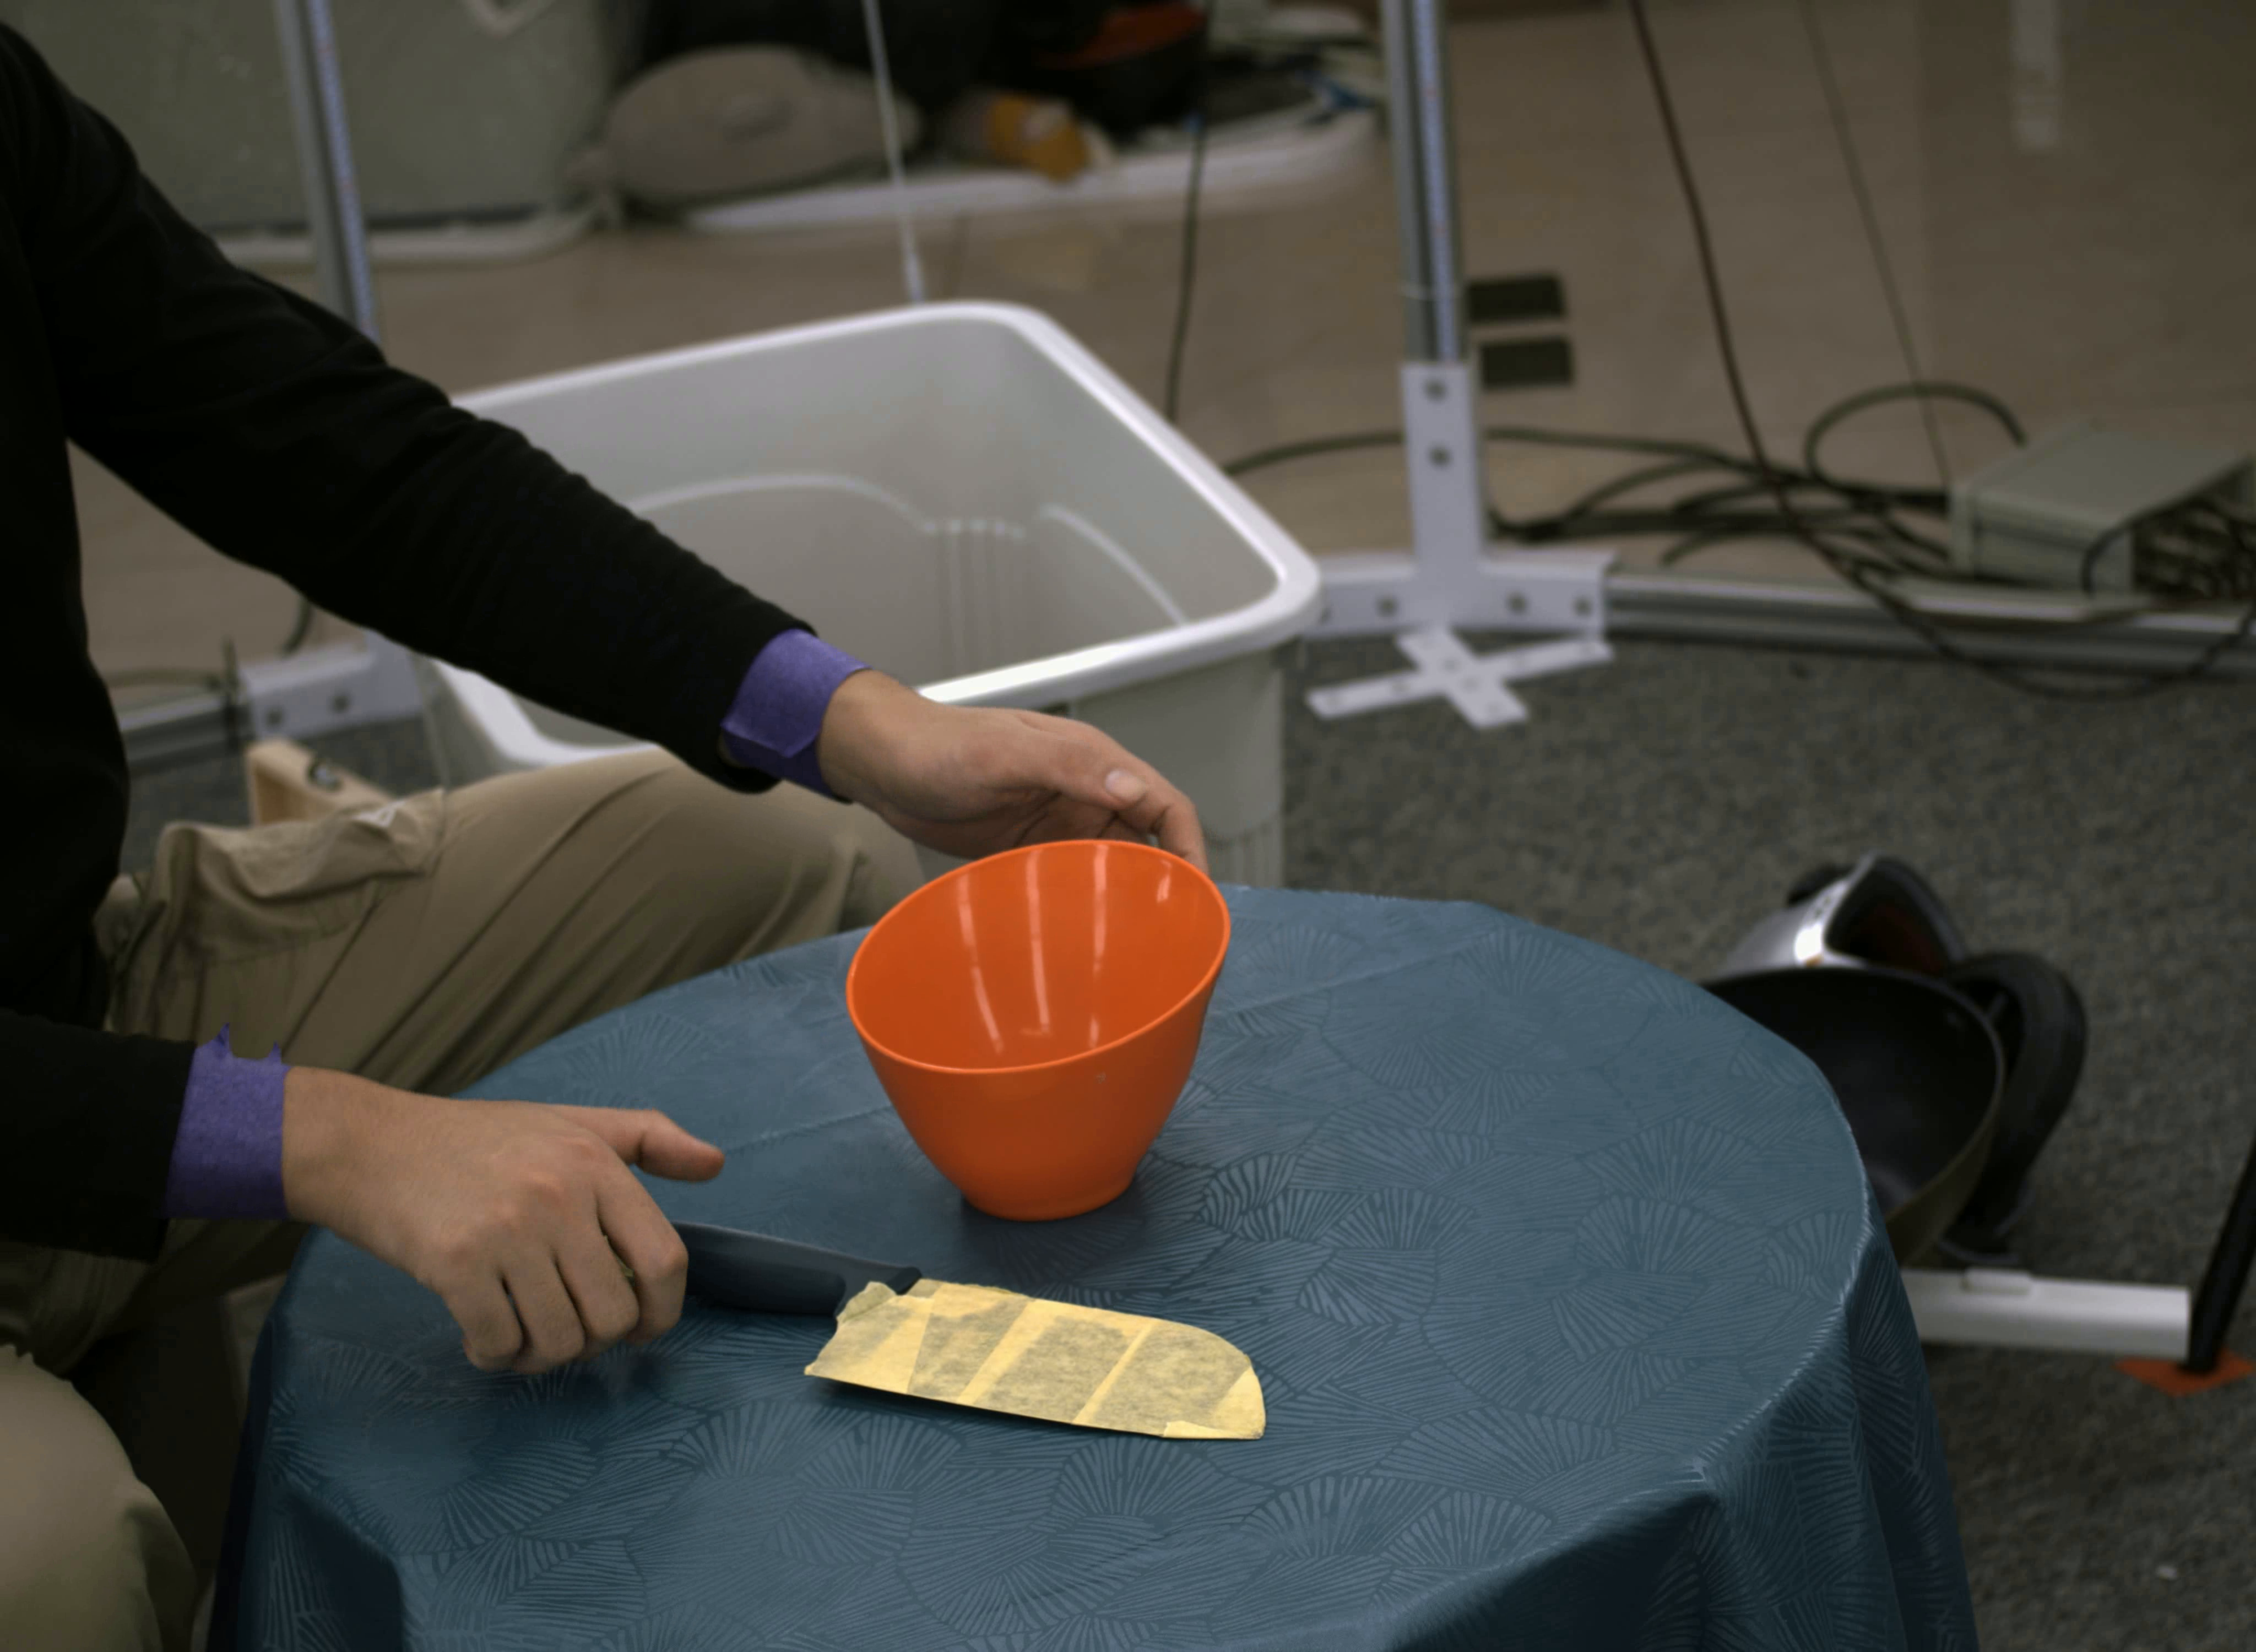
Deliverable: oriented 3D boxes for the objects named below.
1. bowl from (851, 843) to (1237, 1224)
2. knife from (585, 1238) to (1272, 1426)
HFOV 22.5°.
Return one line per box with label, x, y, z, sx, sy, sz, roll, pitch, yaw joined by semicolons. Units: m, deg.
bowl;-0.029;0.085;2.150;0.148;0.106;0.146;-4;27;2
knife;-0.079;0.184;2.055;0.288;0.027;0.080;8;27;26
